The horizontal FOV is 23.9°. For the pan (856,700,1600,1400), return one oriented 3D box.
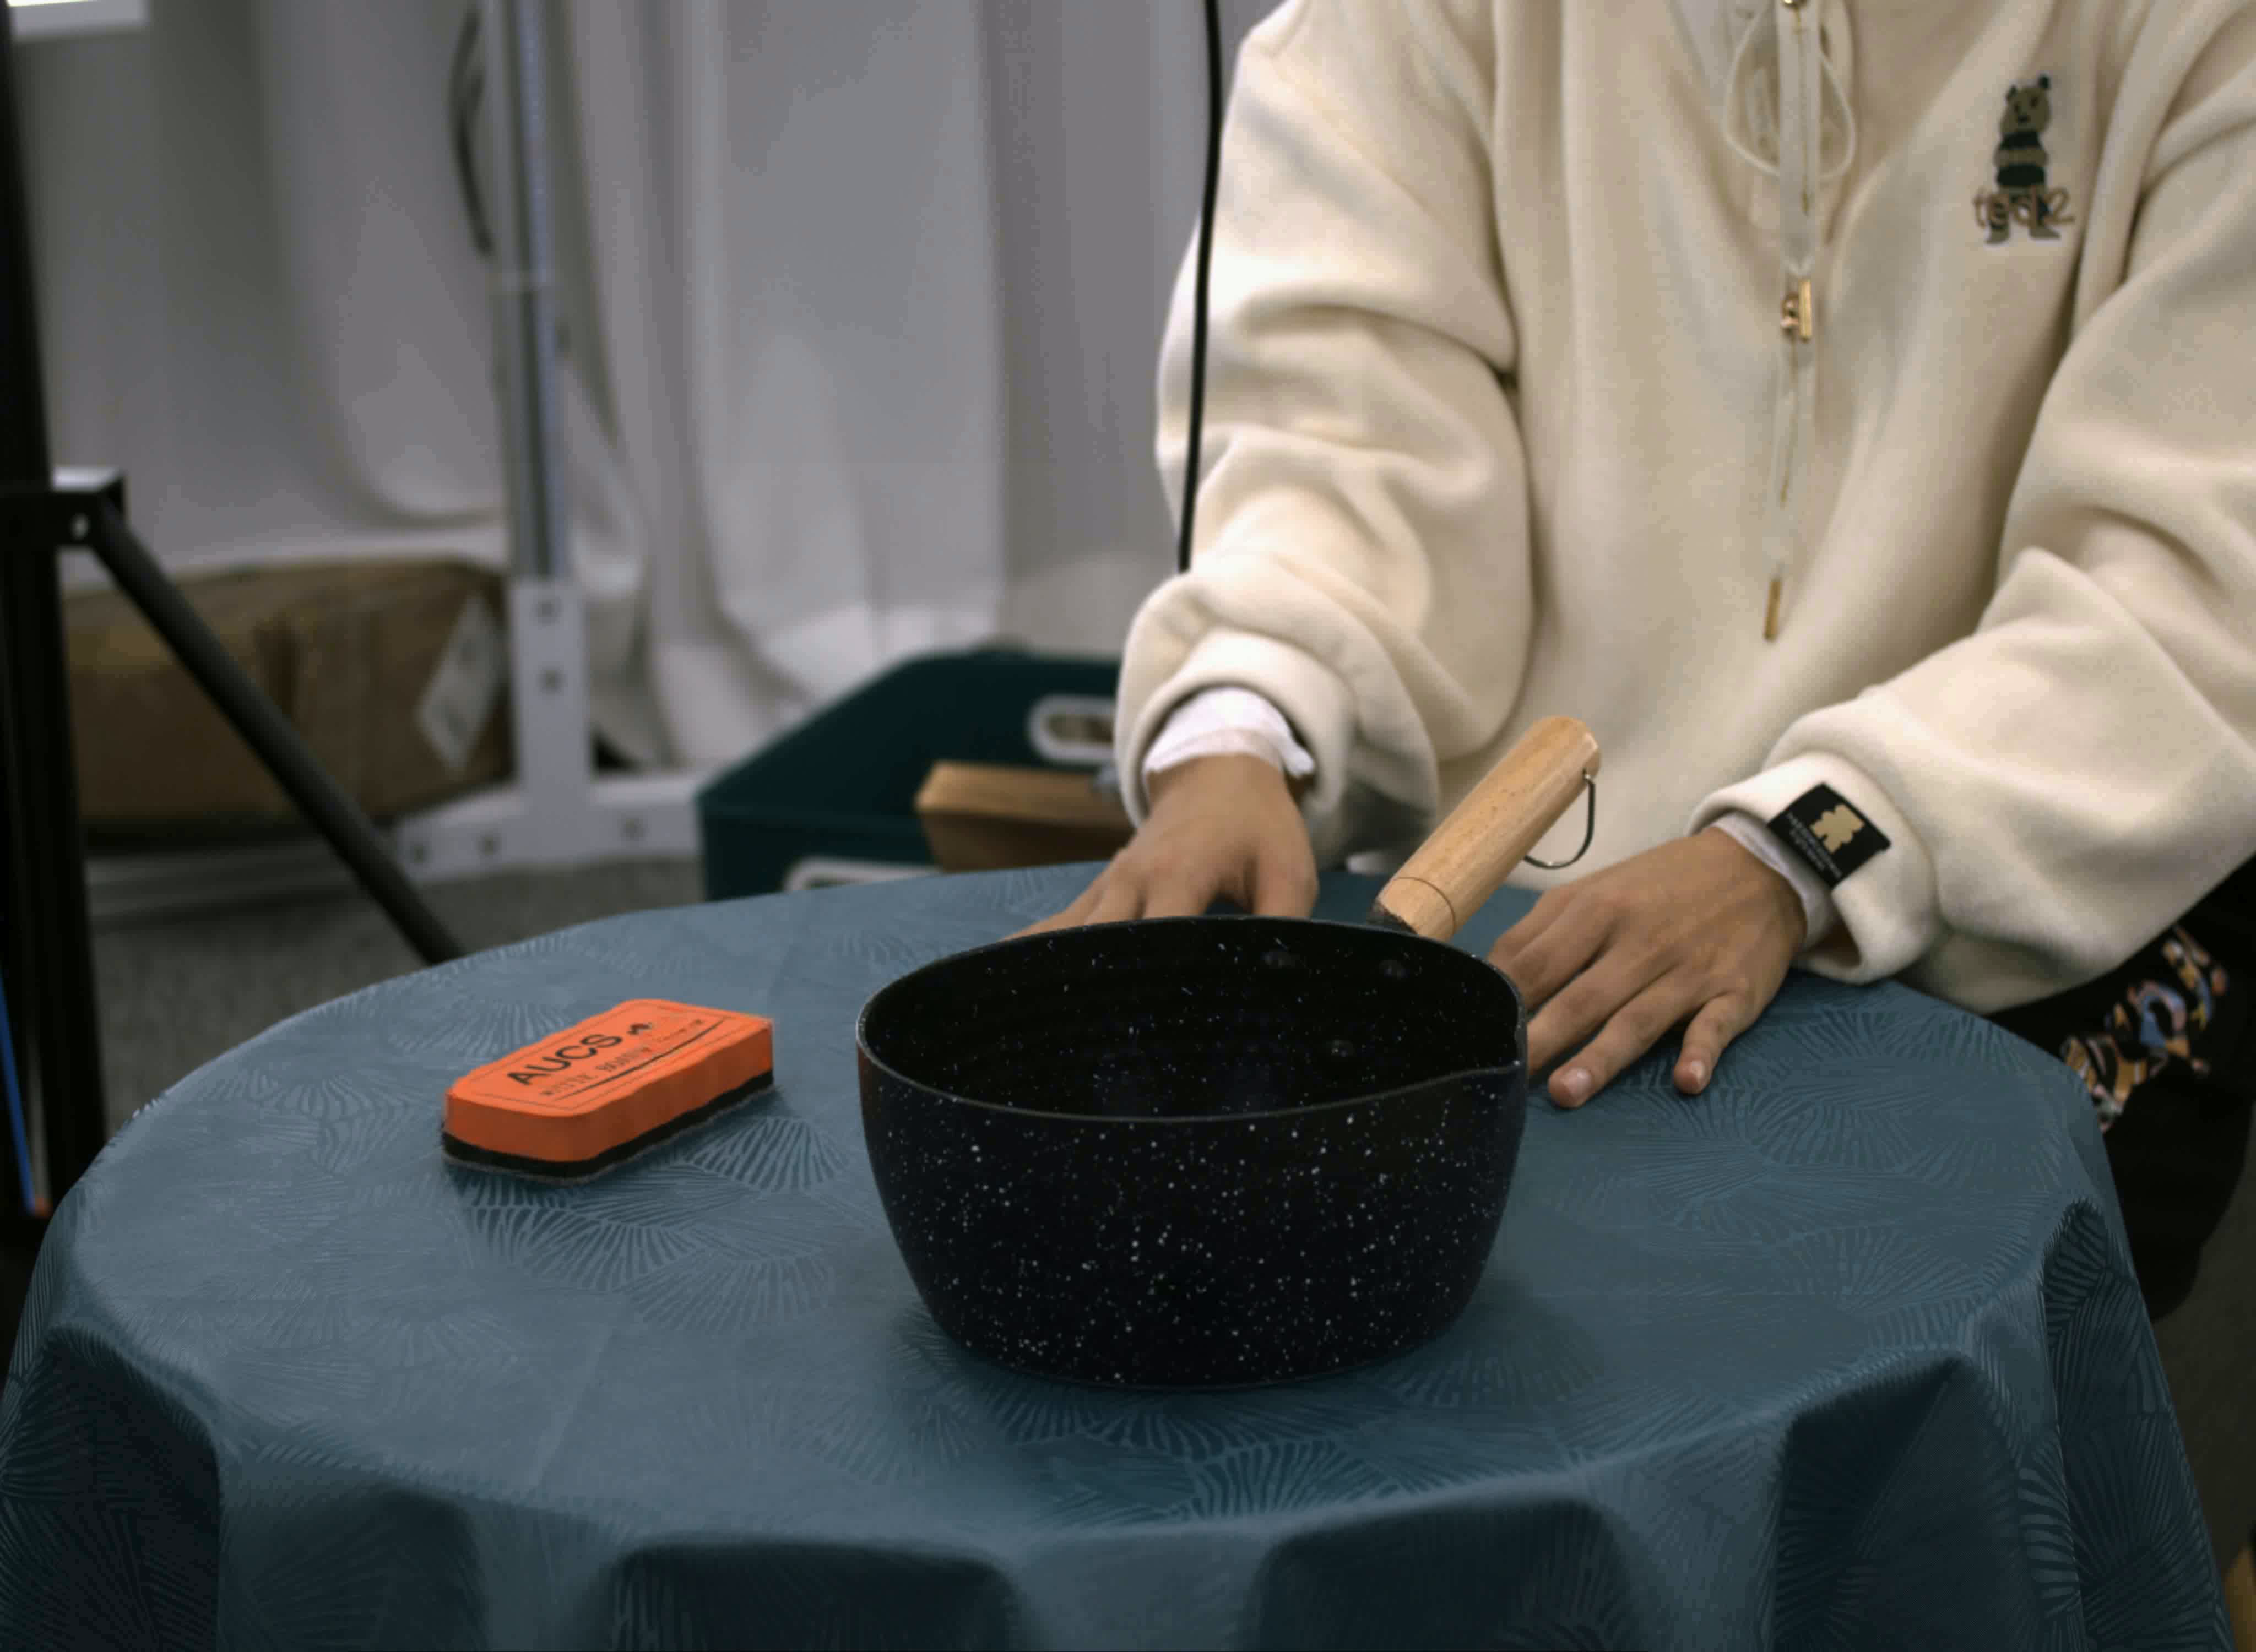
[{"bbox_3d":[0.056,0.059,1.523,0.211,0.108,0.337,5,19,28],"label":"pan"}]

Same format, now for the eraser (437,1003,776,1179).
[{"bbox_3d":[-0.159,0.081,1.638,0.060,0.023,0.106,6,18,33],"label":"eraser"}]
